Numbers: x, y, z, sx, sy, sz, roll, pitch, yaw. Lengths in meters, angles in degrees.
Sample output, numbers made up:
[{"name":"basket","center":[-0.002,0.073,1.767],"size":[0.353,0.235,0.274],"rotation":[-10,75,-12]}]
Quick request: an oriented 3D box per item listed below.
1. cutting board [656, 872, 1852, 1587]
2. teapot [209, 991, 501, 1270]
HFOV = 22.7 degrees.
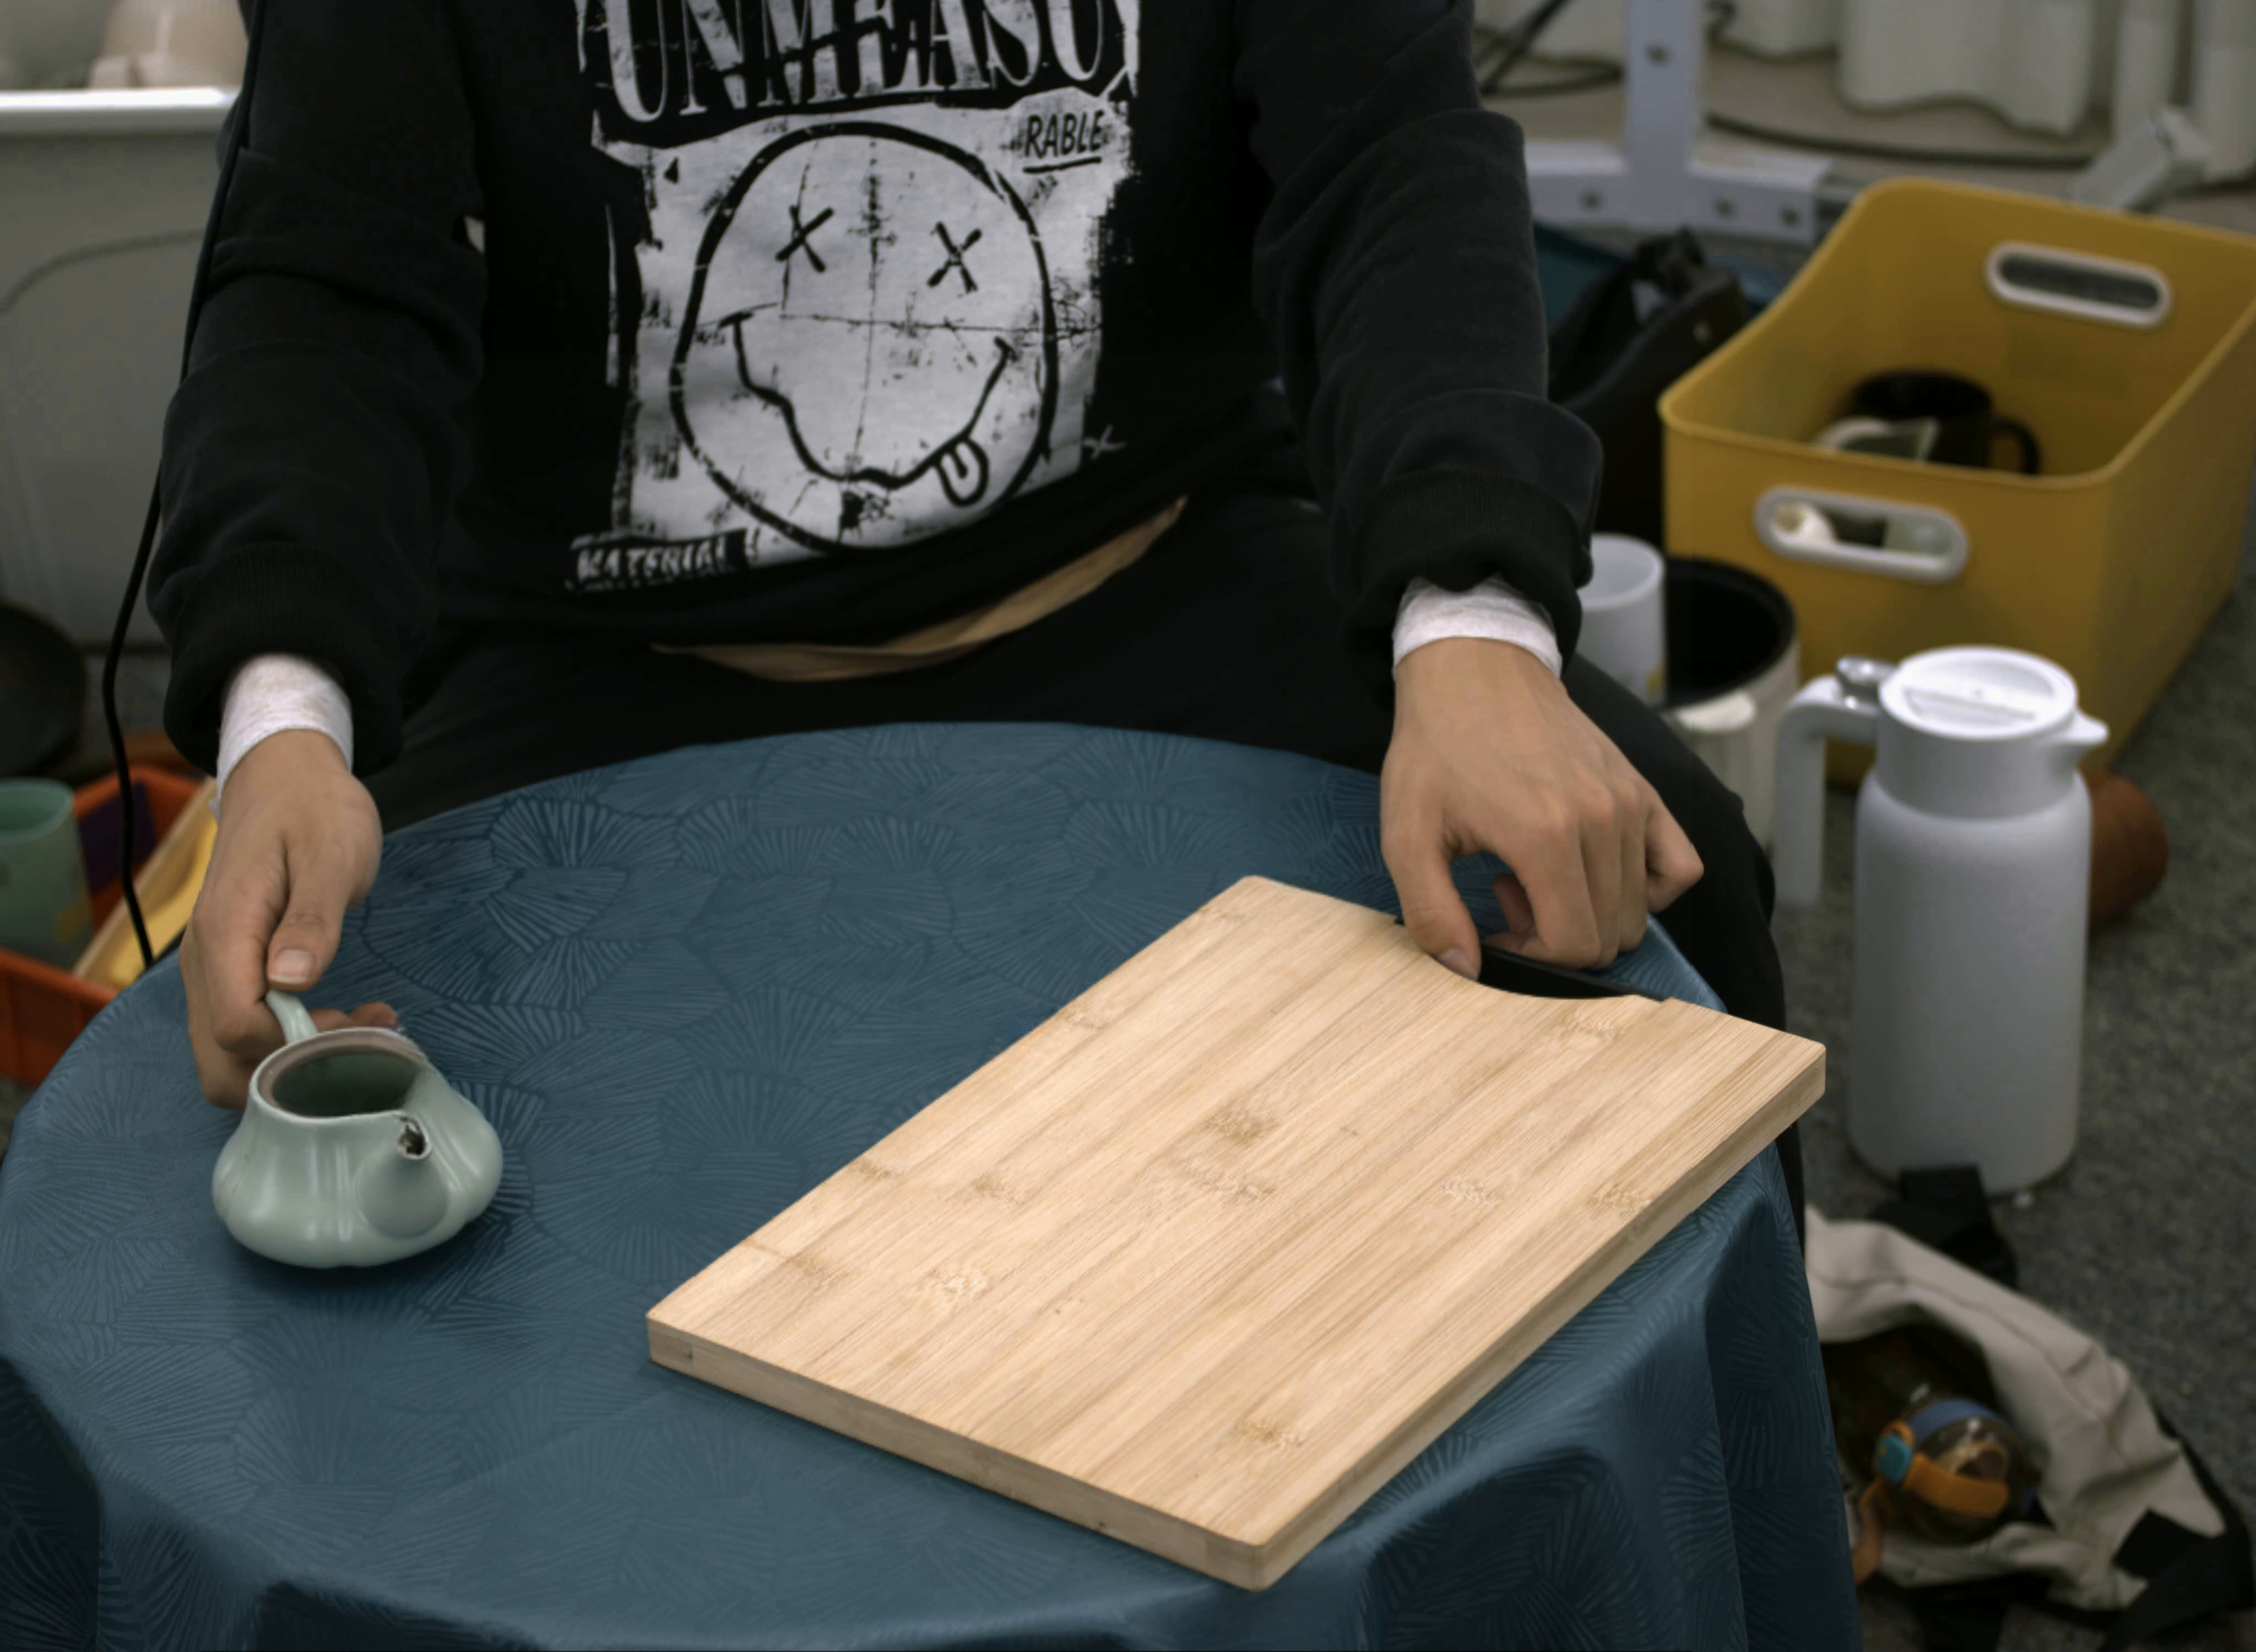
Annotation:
[{"name":"cutting board","center":[0.045,0.121,1.838],"size":[0.249,0.023,0.354],"rotation":[15,33,31]},{"name":"teapot","center":[-0.259,0.103,1.855],"size":[0.097,0.061,0.137],"rotation":[-19,32,-27]}]
